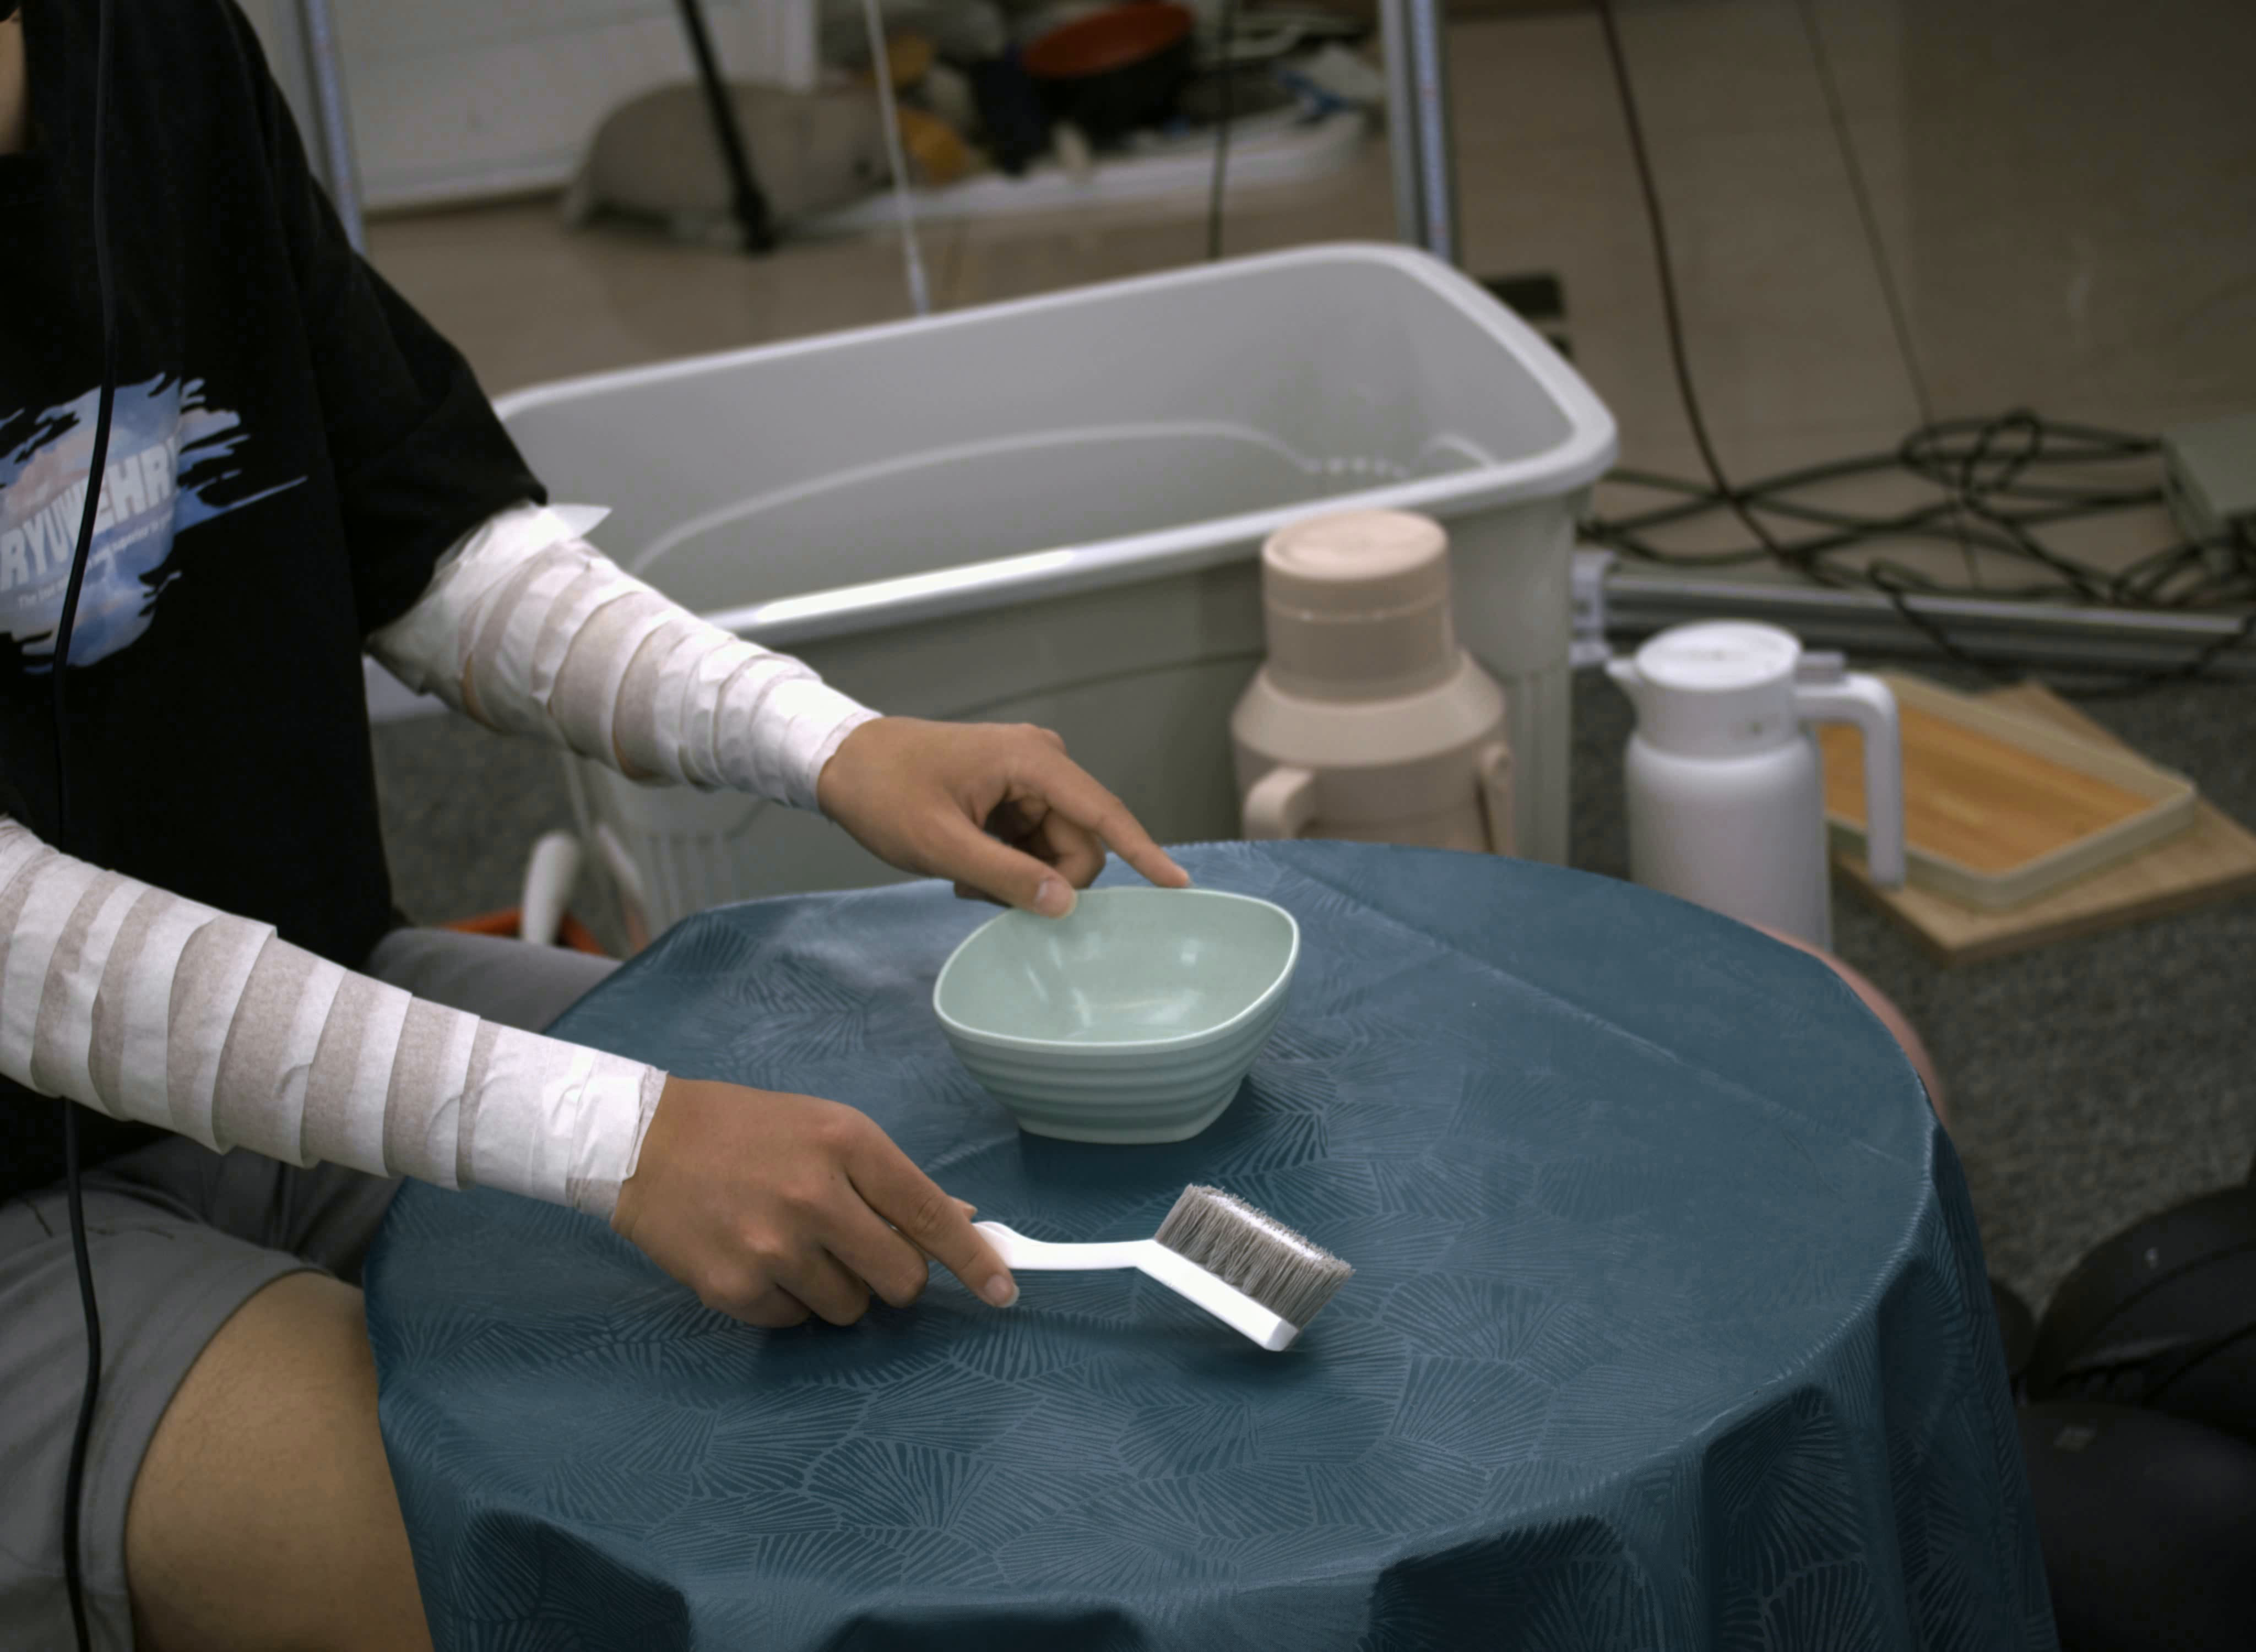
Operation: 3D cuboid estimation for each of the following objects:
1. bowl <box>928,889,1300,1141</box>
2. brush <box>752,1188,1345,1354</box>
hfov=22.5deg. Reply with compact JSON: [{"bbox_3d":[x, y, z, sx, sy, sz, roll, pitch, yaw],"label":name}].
[{"bbox_3d":[-0.003,0.078,2.209,0.151,0.059,0.149,-4,23,2],"label":"bowl"},{"bbox_3d":[-0.032,0.143,2.067,0.242,0.050,0.034,12,5,30],"label":"brush"}]
